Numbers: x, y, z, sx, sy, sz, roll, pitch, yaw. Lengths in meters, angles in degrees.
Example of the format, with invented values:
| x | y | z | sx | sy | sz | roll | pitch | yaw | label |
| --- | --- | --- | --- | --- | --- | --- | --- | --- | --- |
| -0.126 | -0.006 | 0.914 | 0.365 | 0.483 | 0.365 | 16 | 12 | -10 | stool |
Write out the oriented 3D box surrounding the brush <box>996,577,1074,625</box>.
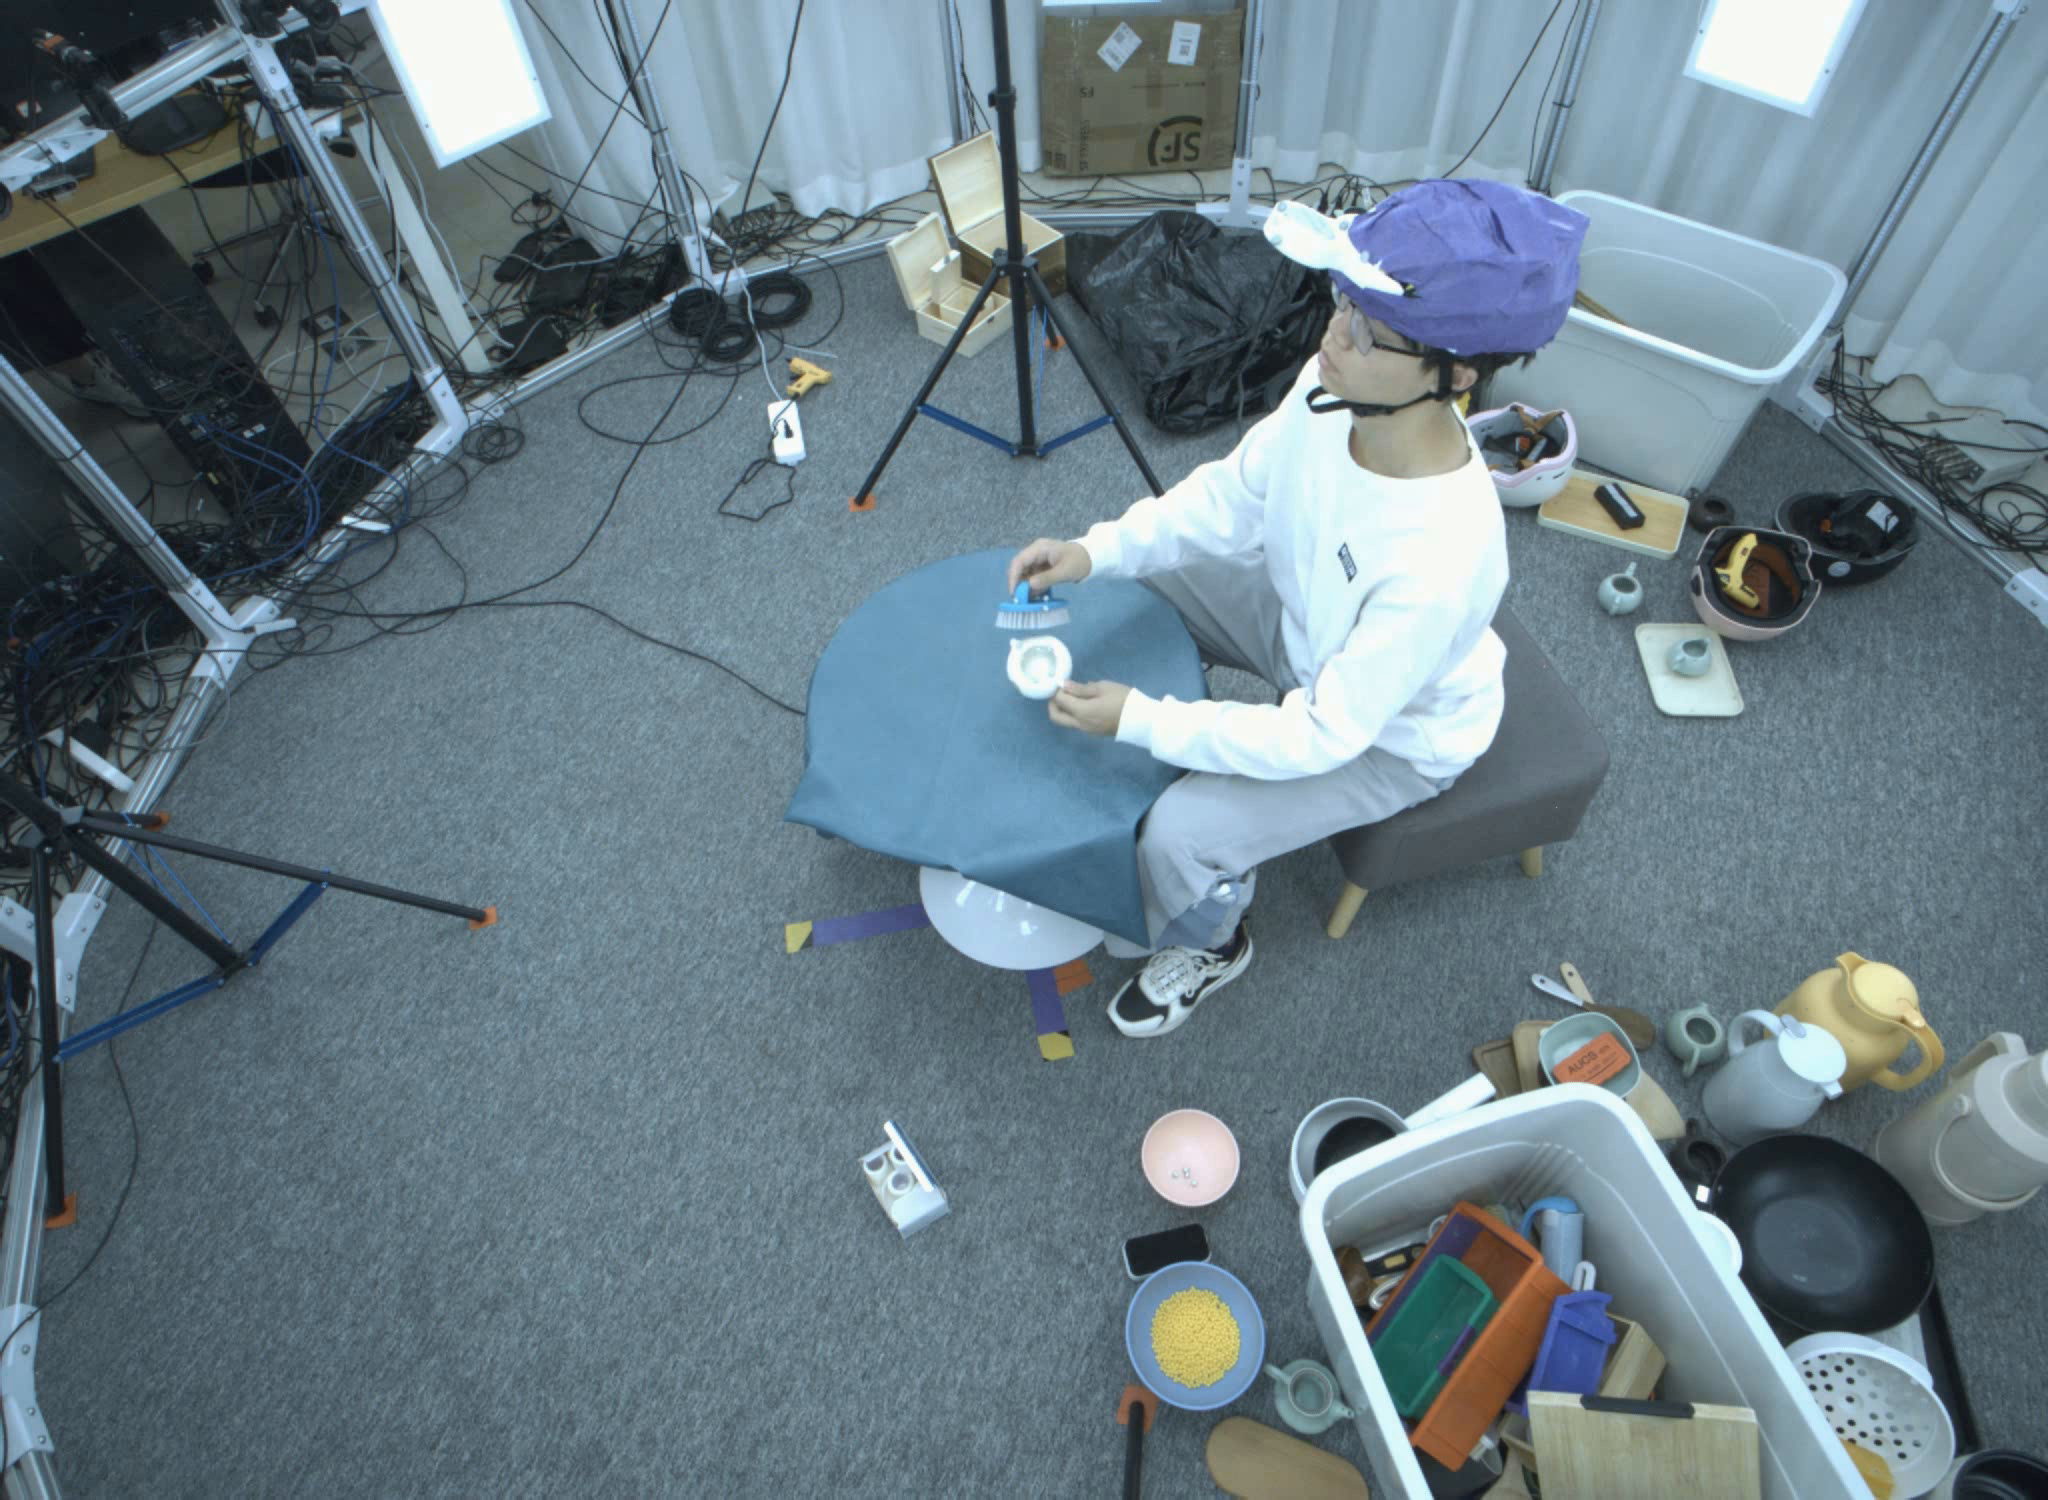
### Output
| x | y | z | sx | sy | sz | roll | pitch | yaw | label |
| --- | --- | --- | --- | --- | --- | --- | --- | --- | --- |
| 0.013 | -0.214 | 1.752 | 0.083 | 0.064 | 0.144 | 2 | 10 | 27 | brush |

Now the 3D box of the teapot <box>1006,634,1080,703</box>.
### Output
| x | y | z | sx | sy | sz | roll | pitch | yaw | label |
| --- | --- | --- | --- | --- | --- | --- | --- | --- | --- |
| 0.030 | -0.111 | 1.745 | 0.127 | 0.057 | 0.093 | 37 | 83 | 5 | teapot |
